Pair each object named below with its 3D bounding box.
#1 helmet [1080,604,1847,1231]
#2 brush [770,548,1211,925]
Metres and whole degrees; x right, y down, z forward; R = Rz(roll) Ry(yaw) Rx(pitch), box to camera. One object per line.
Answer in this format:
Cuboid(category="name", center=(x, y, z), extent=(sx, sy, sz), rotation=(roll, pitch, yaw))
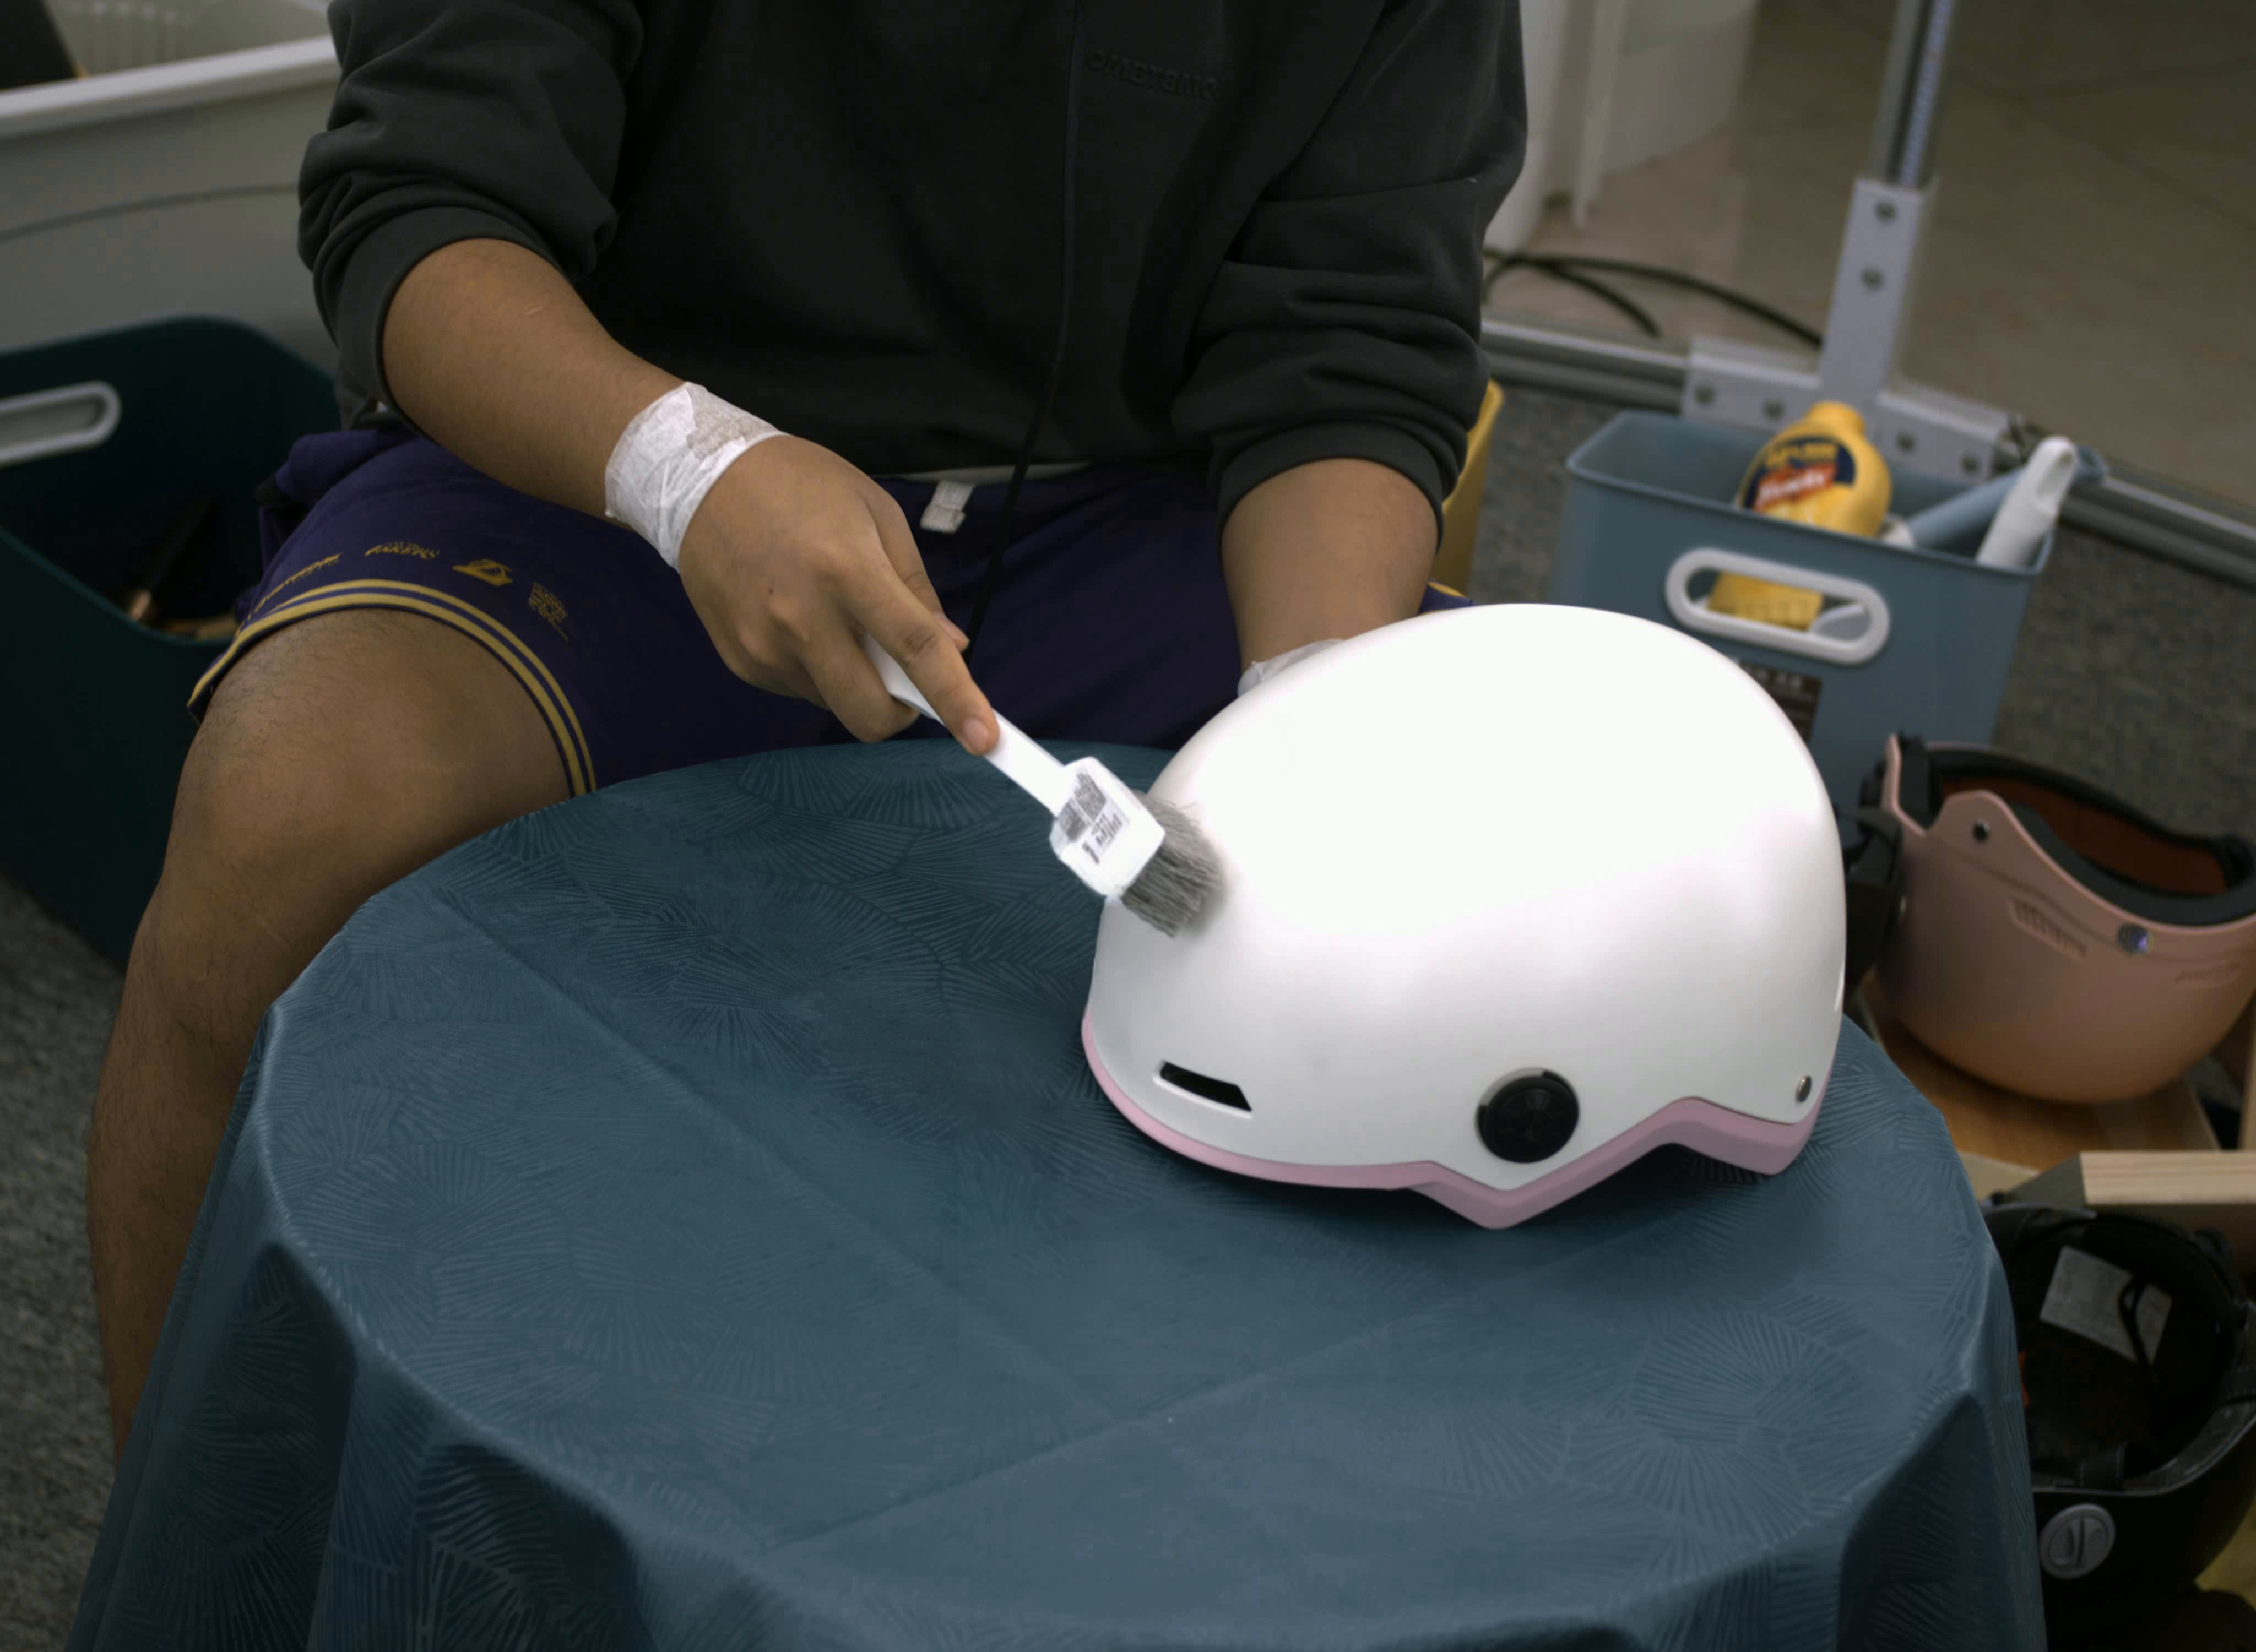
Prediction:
Cuboid(category="helmet", center=(0.125, 0.014, 1.856), extent=(0.267, 0.166, 0.239), rotation=(-3, 31, -18))
Cuboid(category="brush", center=(-0.048, -0.034, 1.865), extent=(0.050, 0.034, 0.246), rotation=(26, 10, -43))
